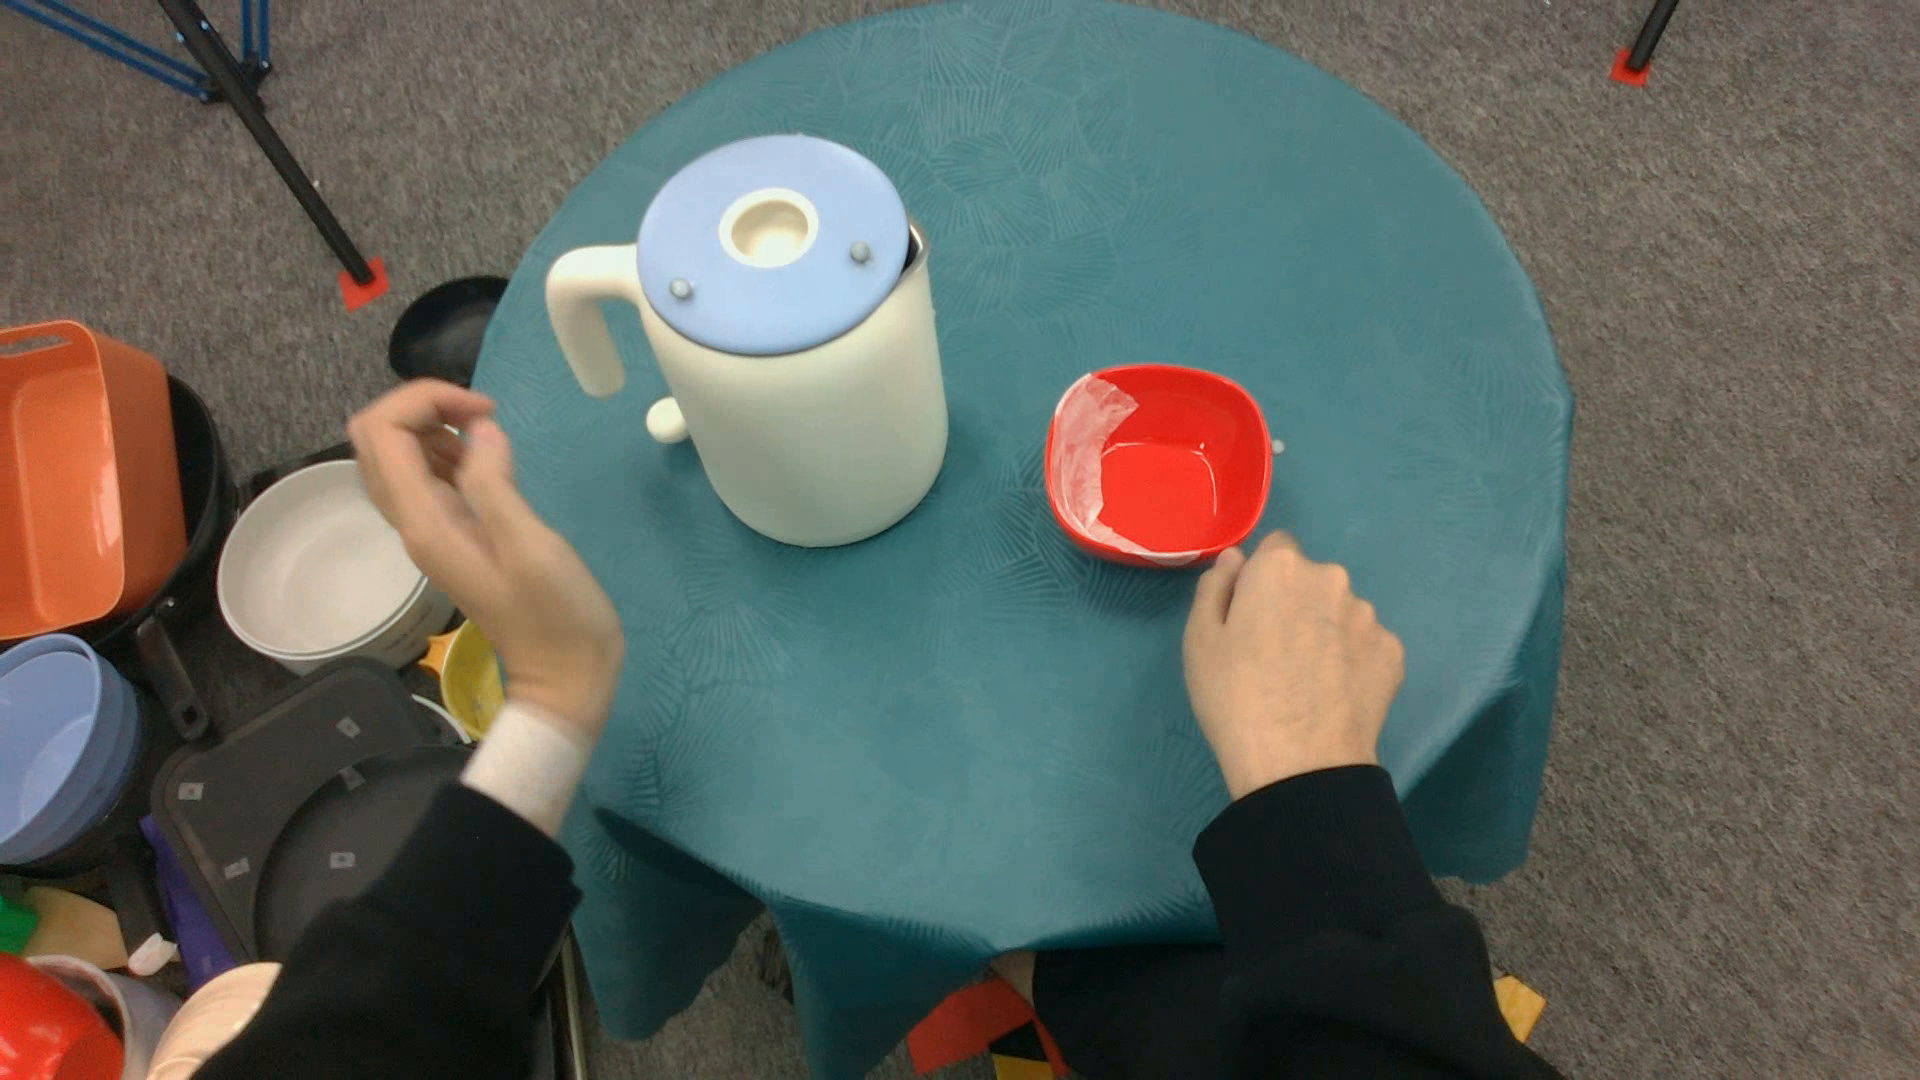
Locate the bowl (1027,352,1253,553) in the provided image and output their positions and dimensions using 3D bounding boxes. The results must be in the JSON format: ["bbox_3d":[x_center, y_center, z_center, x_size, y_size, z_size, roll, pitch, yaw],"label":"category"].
[{"bbox_3d":[0.088,-0.036,0.692,0.119,0.051,0.119,0,60,0],"label":"bowl"}]

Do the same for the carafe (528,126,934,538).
[{"bbox_3d":[-0.108,-0.095,0.668,0.191,0.182,0.133,0,60,5],"label":"carafe"}]
